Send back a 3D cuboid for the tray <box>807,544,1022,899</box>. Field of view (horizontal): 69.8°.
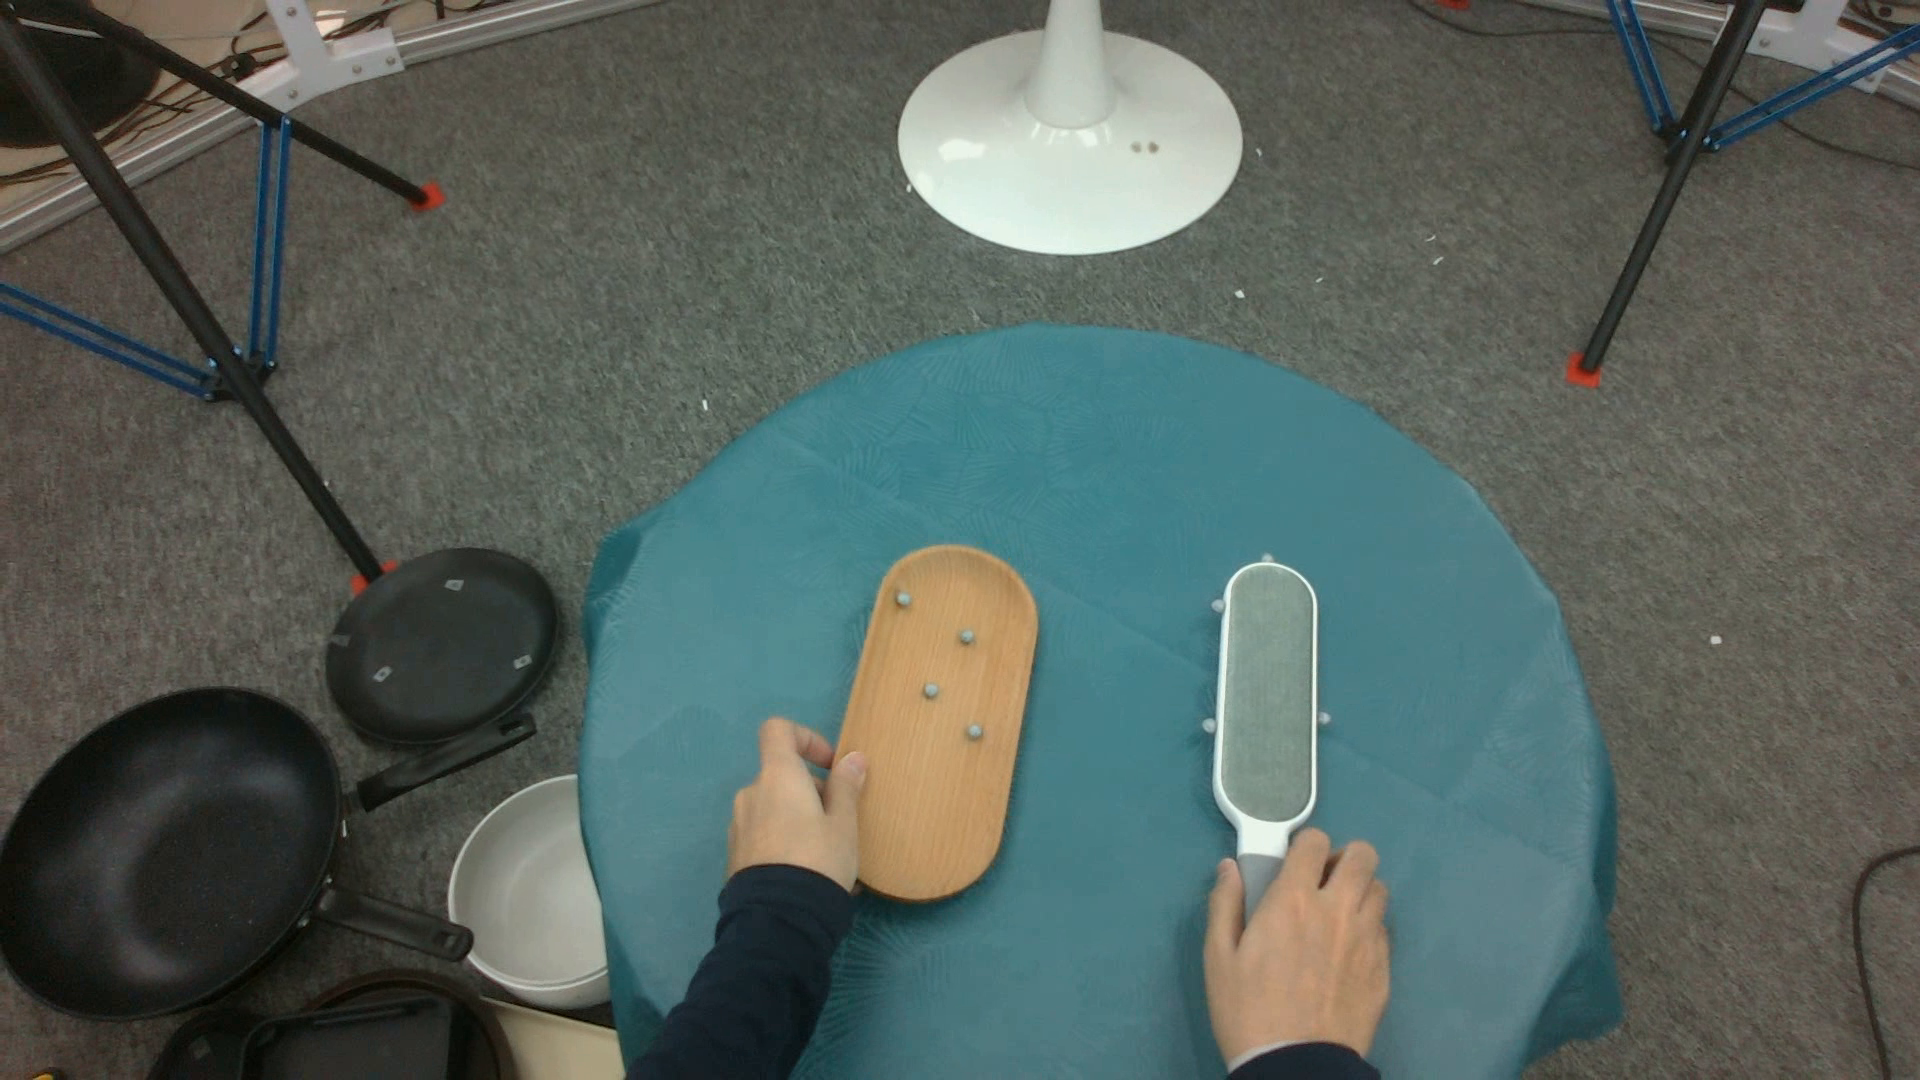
[{"bbox_3d":[-0.023,0.098,0.795,0.101,0.020,0.232,10,54,0],"label":"tray"}]

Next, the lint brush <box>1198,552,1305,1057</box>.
[{"bbox_3d":[0.162,0.131,0.770,0.060,0.021,0.310,12,53,0],"label":"lint brush"}]
